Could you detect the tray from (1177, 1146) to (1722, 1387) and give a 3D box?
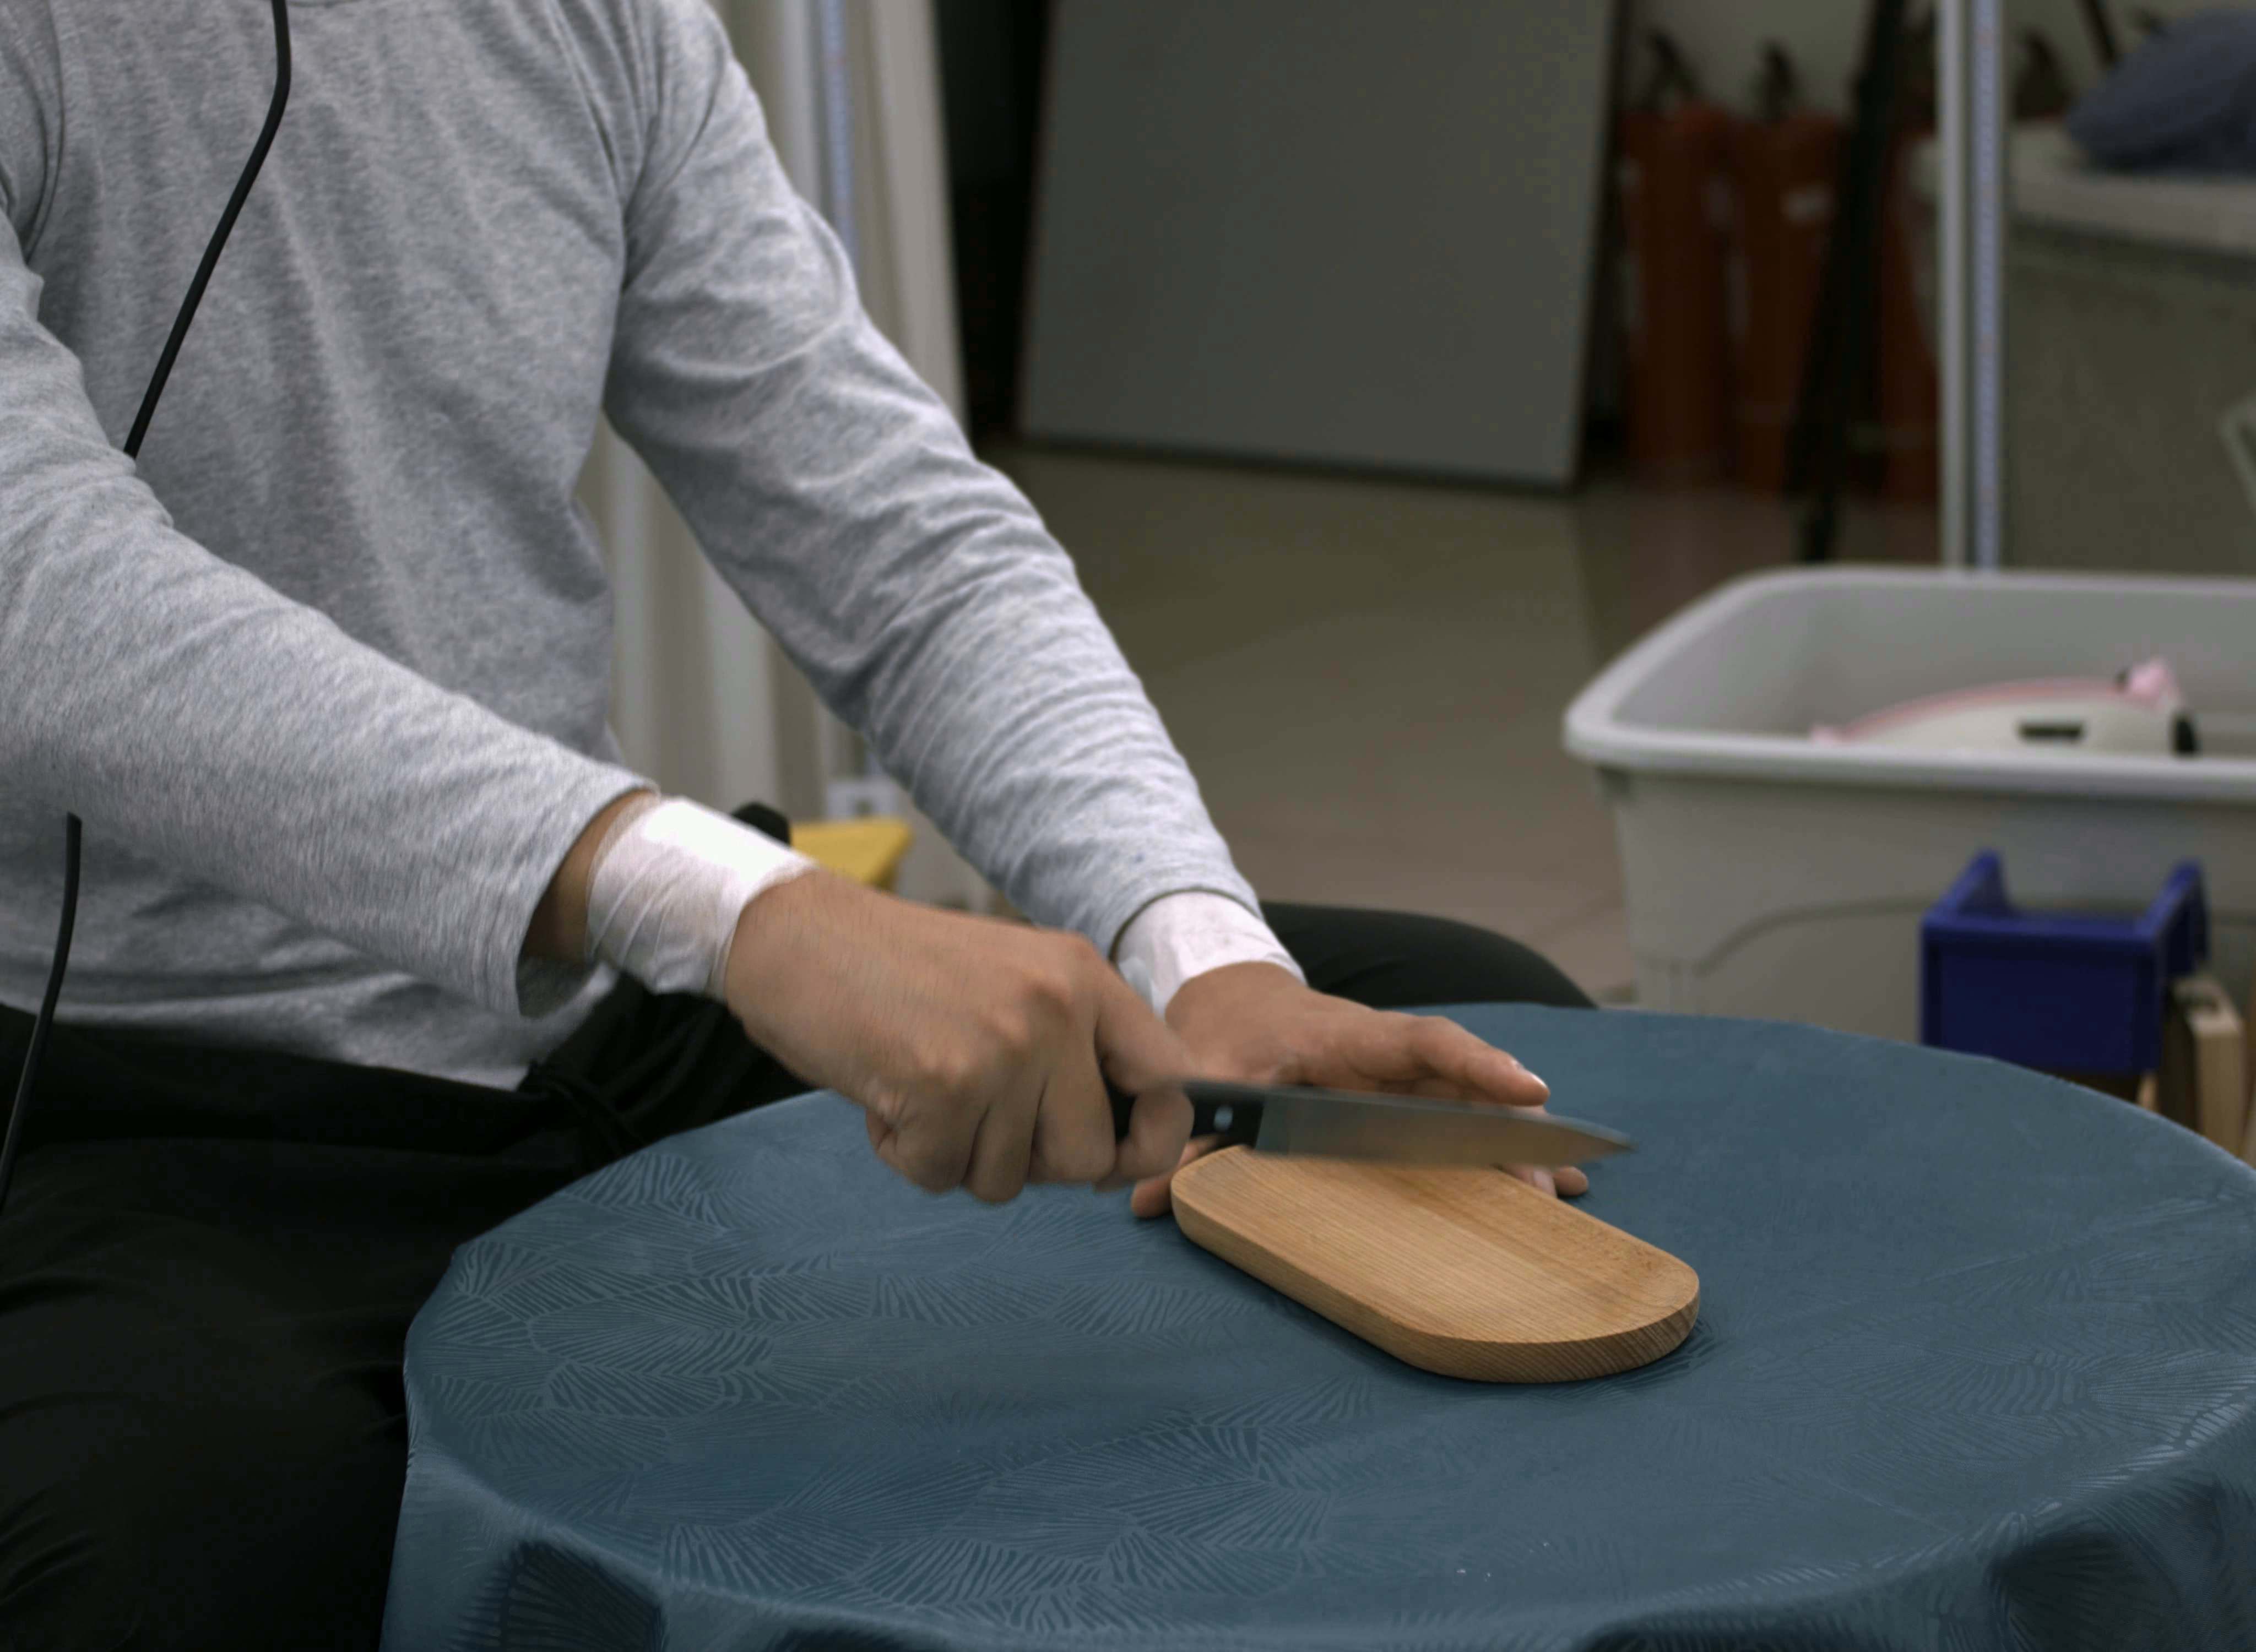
[{"bbox_3d":[0.097,0.133,1.666,0.099,0.020,0.233,-13,17,-26],"label":"tray"}]

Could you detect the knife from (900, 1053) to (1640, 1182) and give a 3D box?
[{"bbox_3d":[0.046,0.088,1.606,0.233,0.025,0.016,7,16,-17],"label":"knife"}]
